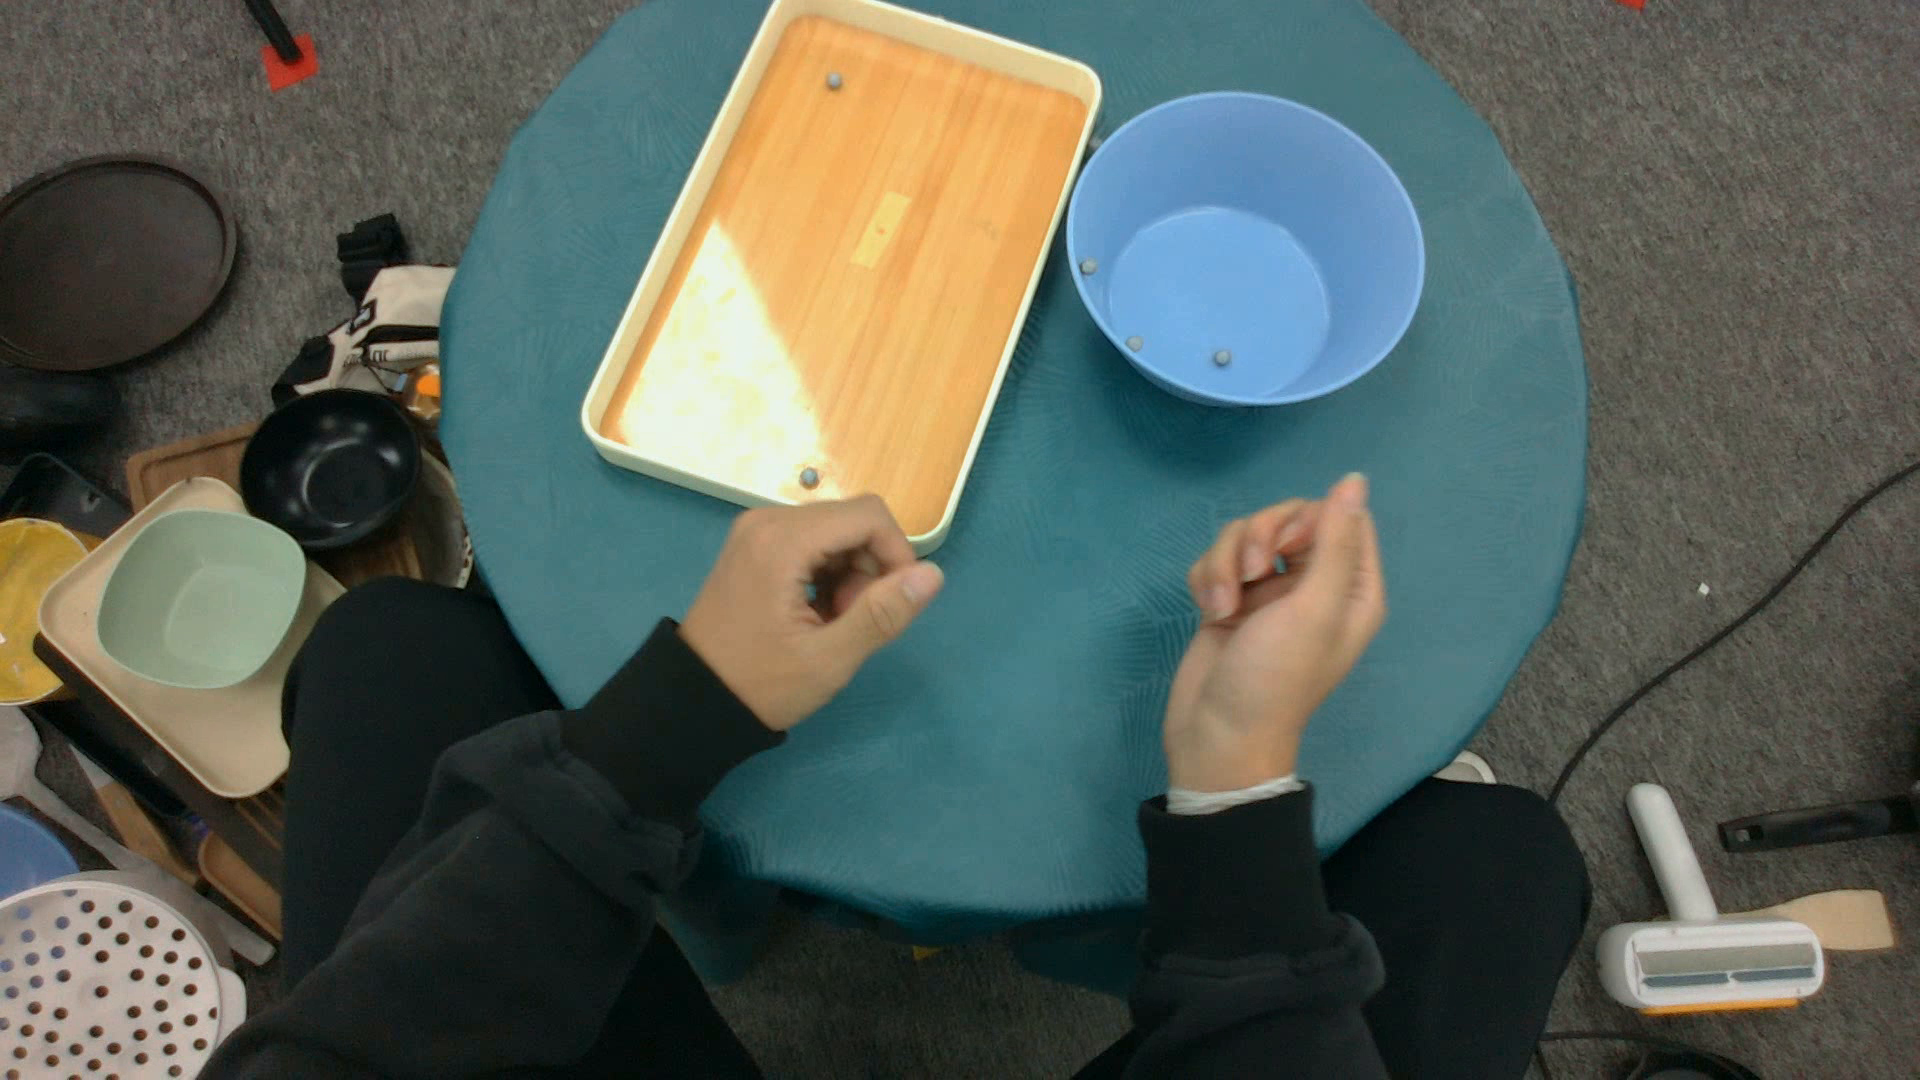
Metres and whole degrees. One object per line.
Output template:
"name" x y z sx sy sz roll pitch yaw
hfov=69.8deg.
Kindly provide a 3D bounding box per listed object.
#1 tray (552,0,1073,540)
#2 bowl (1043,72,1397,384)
"tray" -0.069 -0.160 0.722 0.191 0.027 0.301 18 70 2
"bowl" 0.127 -0.147 0.707 0.176 0.070 0.176 1 70 -2
